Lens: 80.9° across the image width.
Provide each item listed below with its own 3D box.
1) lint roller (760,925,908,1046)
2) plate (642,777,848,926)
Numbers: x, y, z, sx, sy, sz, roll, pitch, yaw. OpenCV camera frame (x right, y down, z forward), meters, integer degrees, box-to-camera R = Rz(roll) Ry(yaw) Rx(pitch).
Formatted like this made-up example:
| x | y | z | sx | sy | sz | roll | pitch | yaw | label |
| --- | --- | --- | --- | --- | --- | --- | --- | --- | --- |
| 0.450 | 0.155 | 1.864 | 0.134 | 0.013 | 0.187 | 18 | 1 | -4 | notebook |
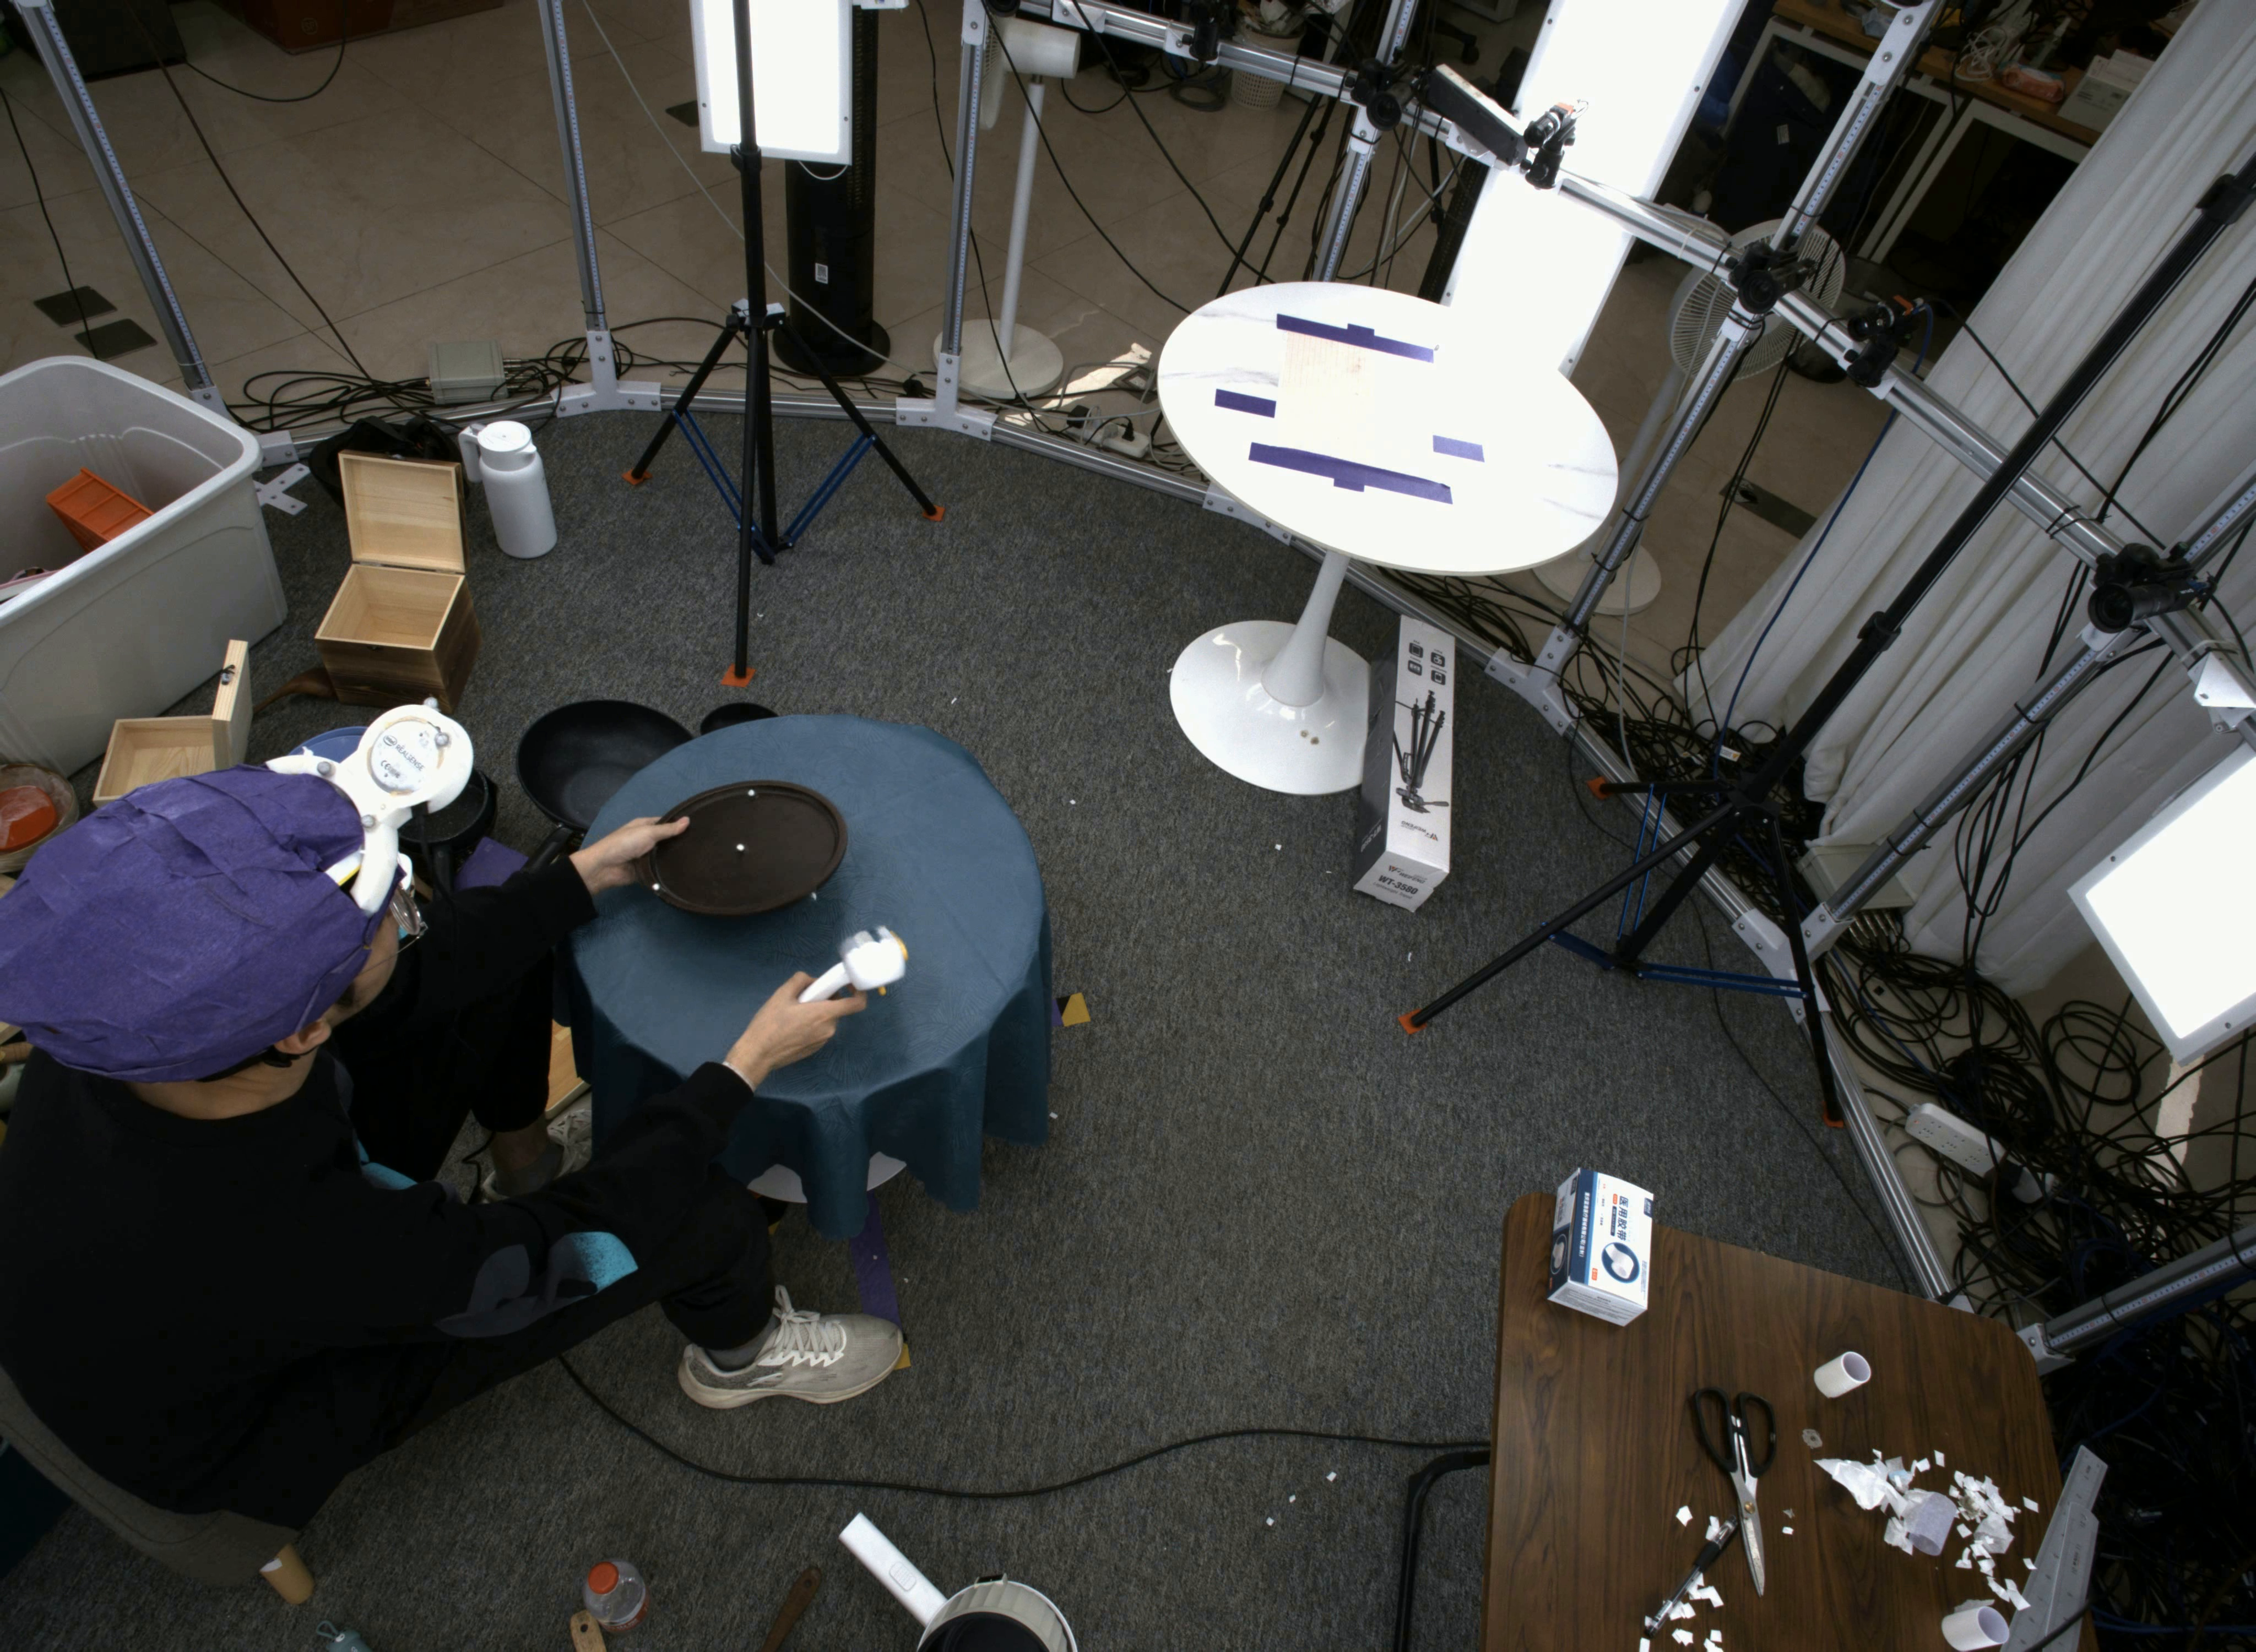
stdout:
| x | y | z | sx | sy | sz | roll | pitch | yaw | label |
| --- | --- | --- | --- | --- | --- | --- | --- | --- | --- |
| -0.345 | 0.183 | 1.501 | 0.192 | 0.188 | 0.076 | -26 | 103 | -11 | lint roller |
| -0.476 | 0.030 | 1.608 | 0.252 | 0.030 | 0.249 | 4 | 44 | -2 | plate |
